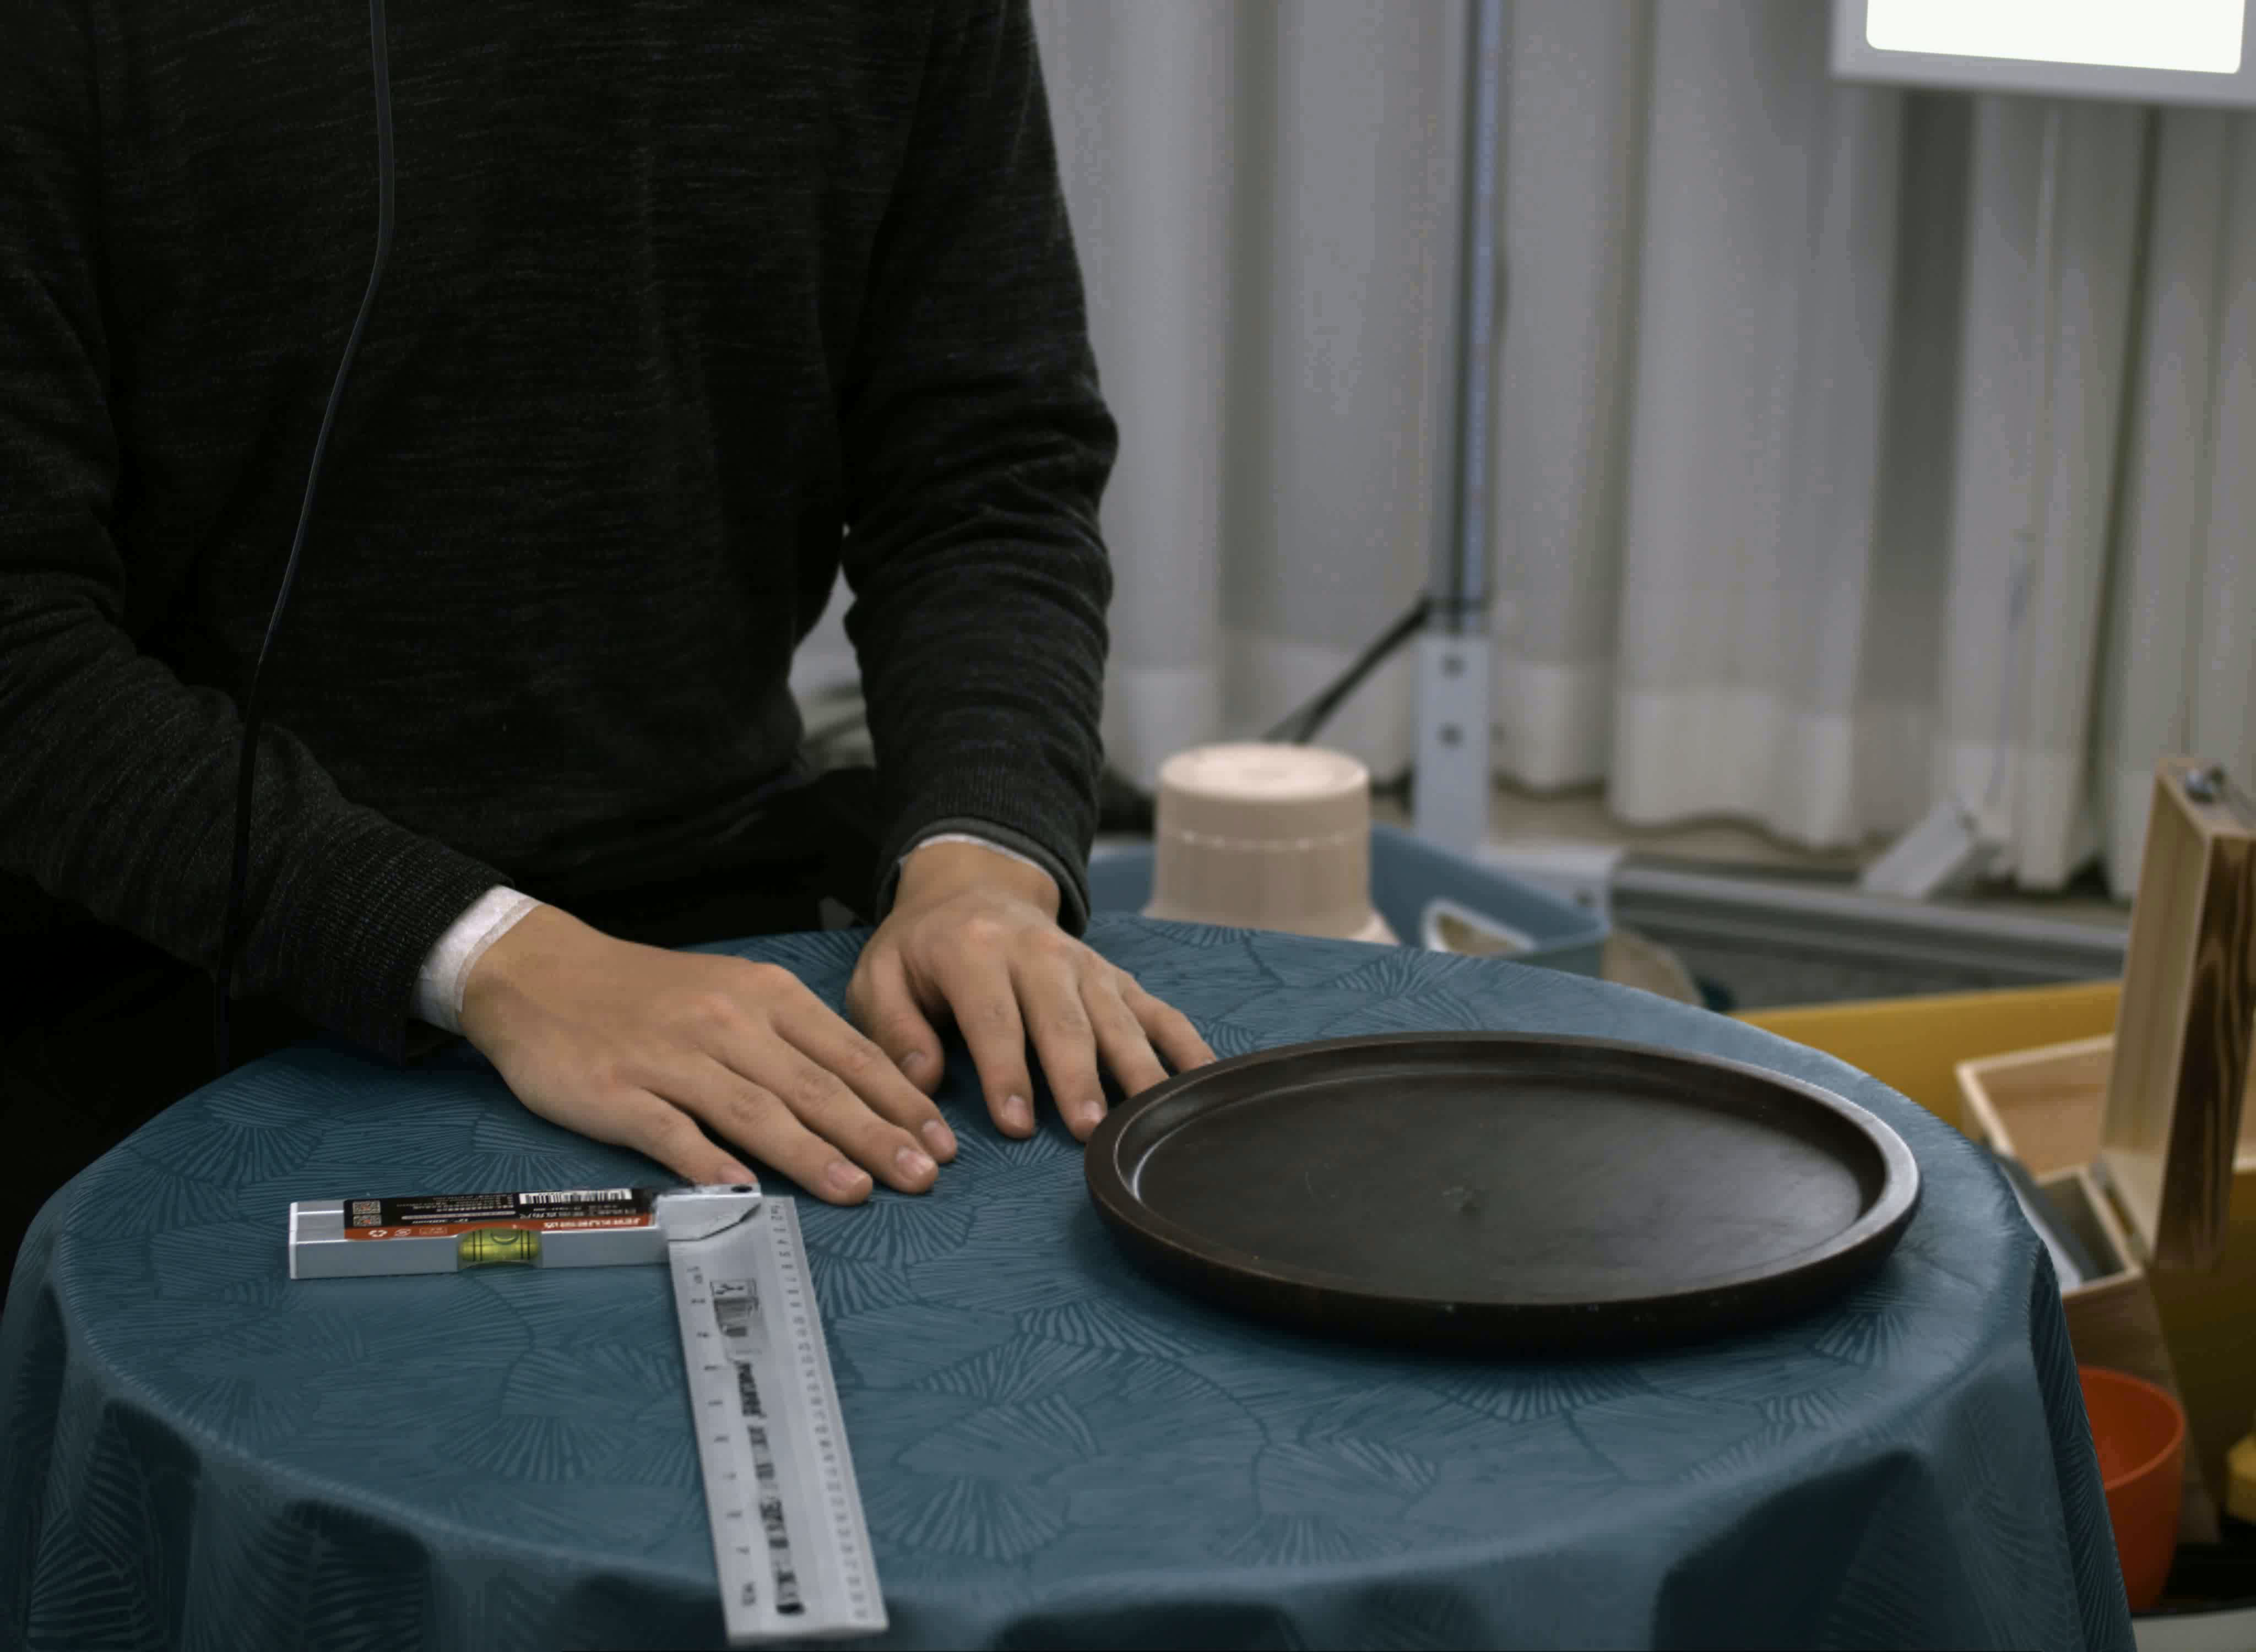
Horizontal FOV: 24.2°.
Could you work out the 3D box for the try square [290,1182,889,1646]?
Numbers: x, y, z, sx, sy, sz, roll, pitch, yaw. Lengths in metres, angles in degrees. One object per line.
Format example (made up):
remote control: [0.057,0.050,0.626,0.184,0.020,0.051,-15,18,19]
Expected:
try square: [-0.154,0.158,1.437,0.152,0.016,0.310,-2,17,-7]

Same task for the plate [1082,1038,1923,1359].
plate: [0.112,0.109,1.591,0.254,0.029,0.253,1,17,0]
